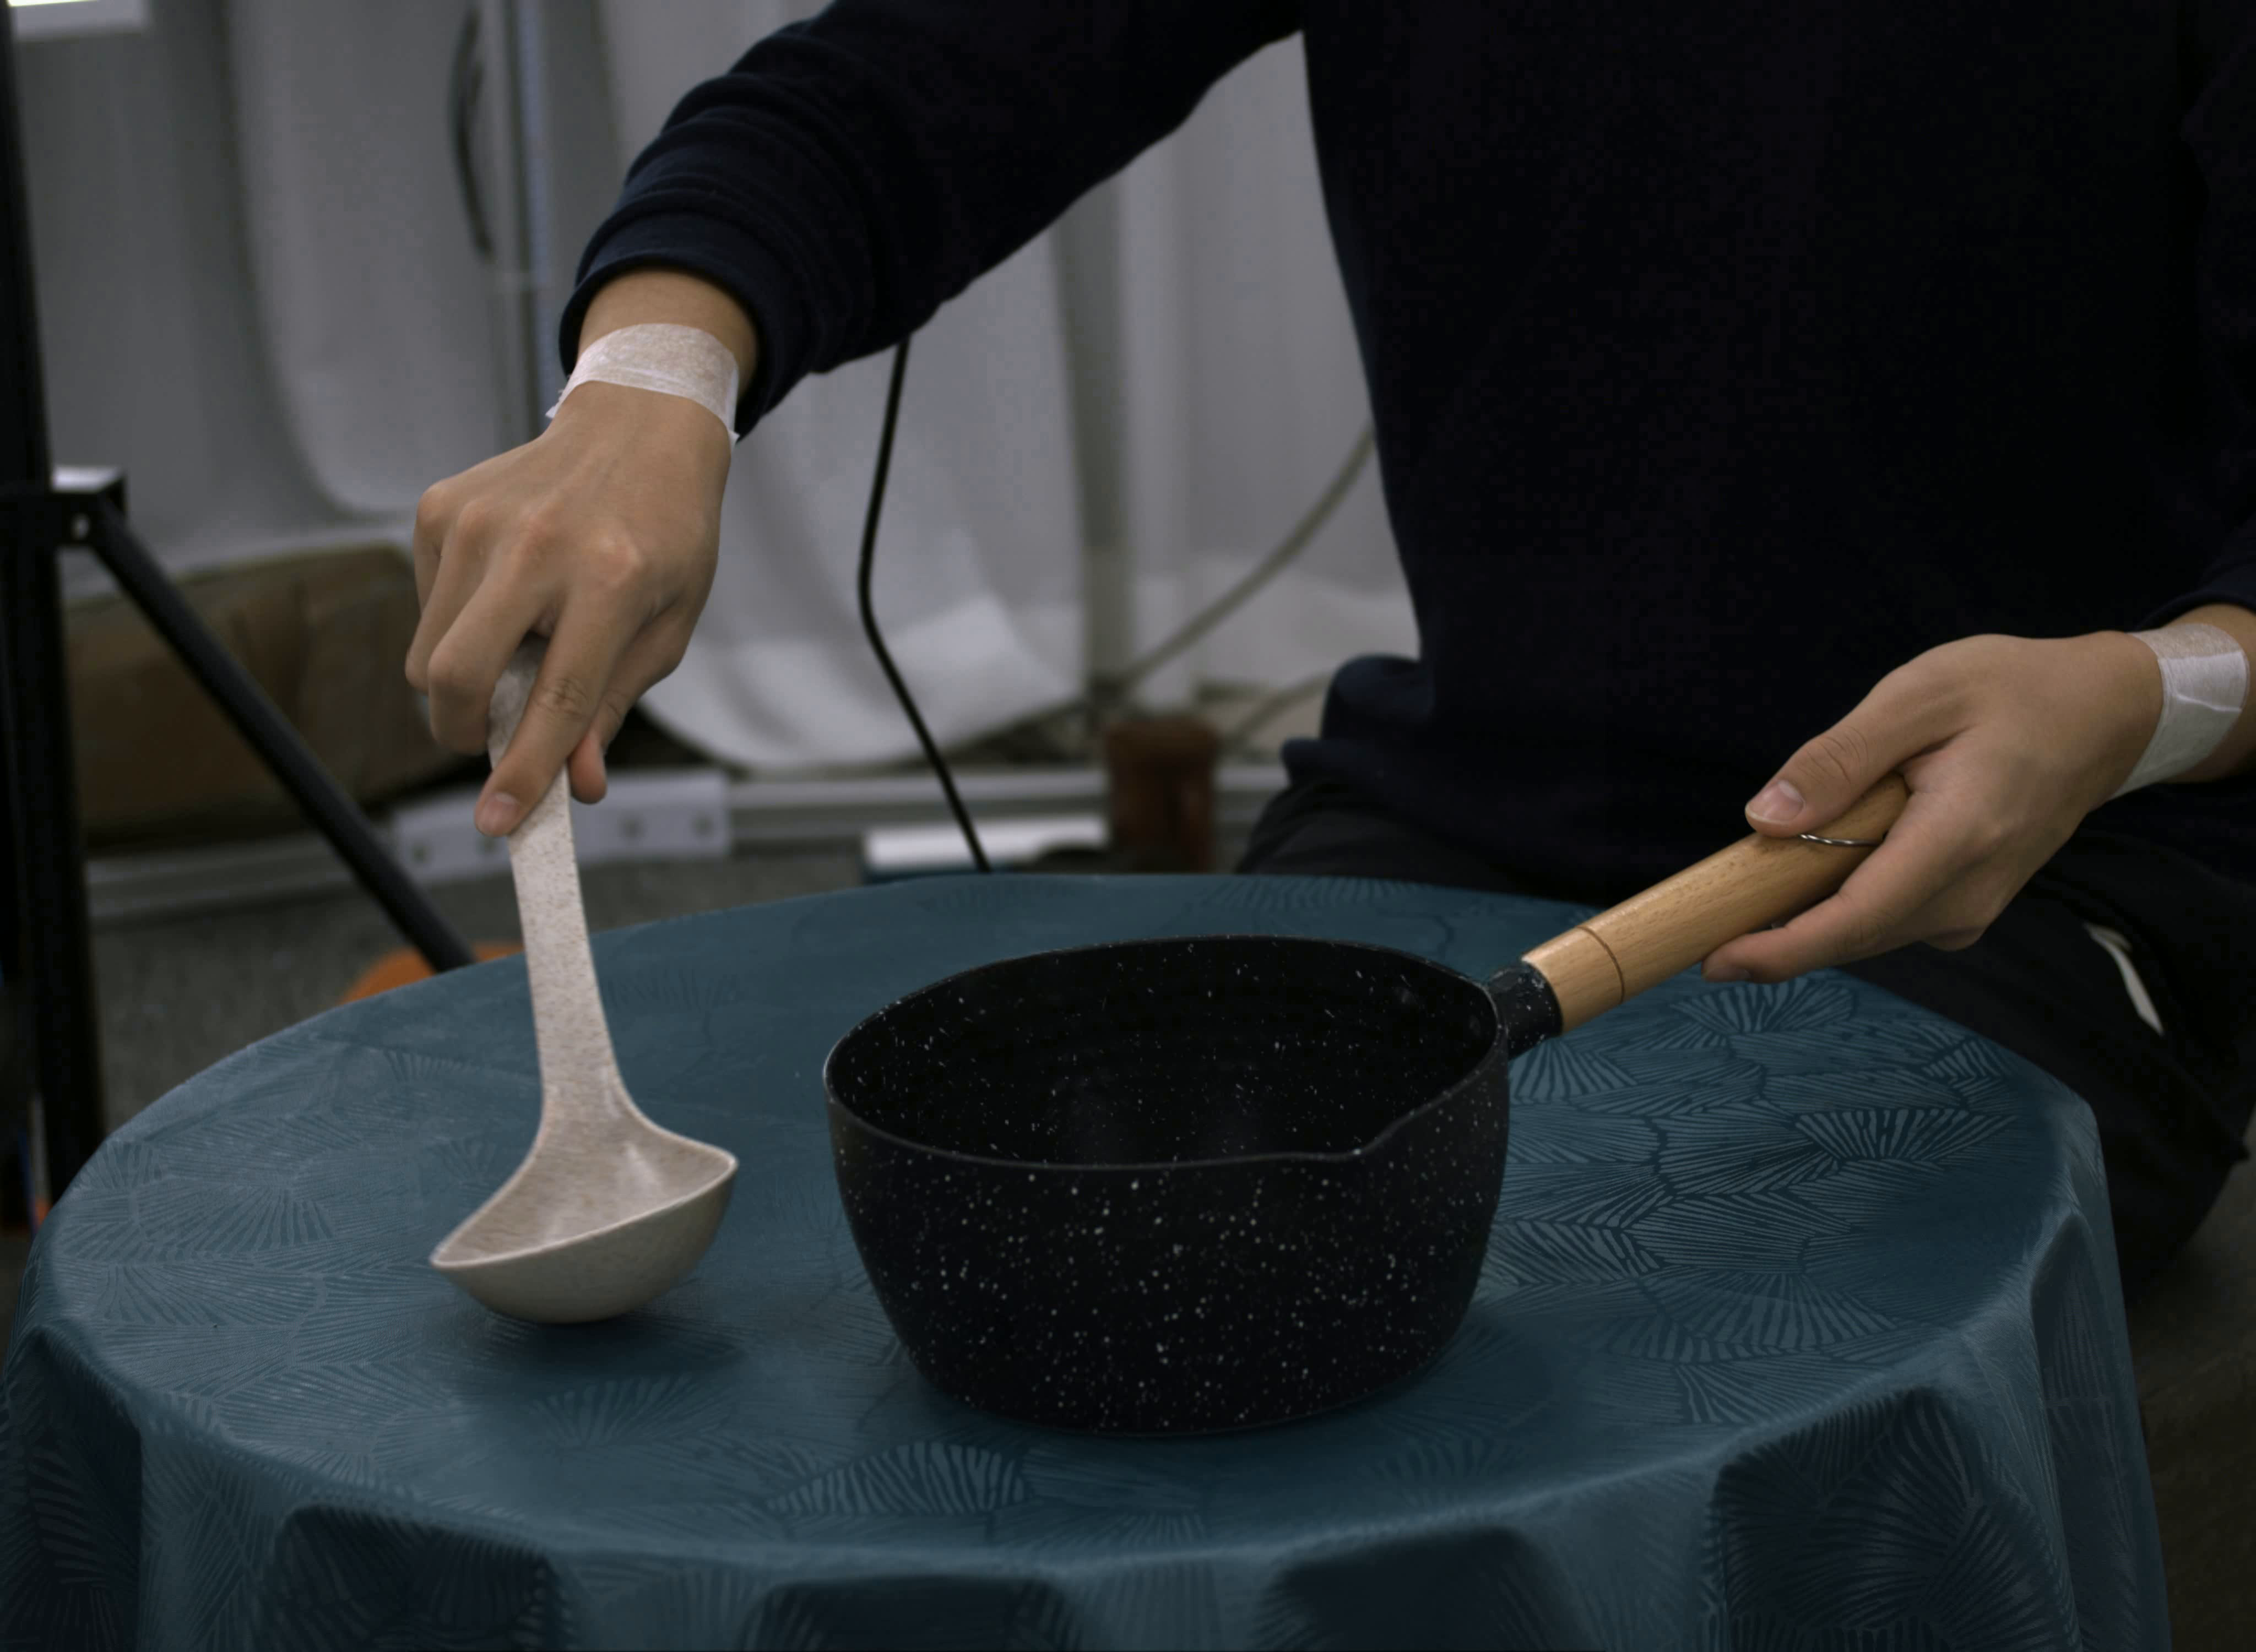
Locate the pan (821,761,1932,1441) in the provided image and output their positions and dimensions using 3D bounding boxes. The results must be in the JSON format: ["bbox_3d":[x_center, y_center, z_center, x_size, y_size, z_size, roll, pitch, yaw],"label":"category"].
[{"bbox_3d":[0.080,0.070,1.459,0.336,0.108,0.212,-15,18,-26],"label":"pan"}]

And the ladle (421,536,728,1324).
[{"bbox_3d":[-0.171,0.016,1.529,0.089,0.279,0.068,-18,-31,10],"label":"ladle"}]
